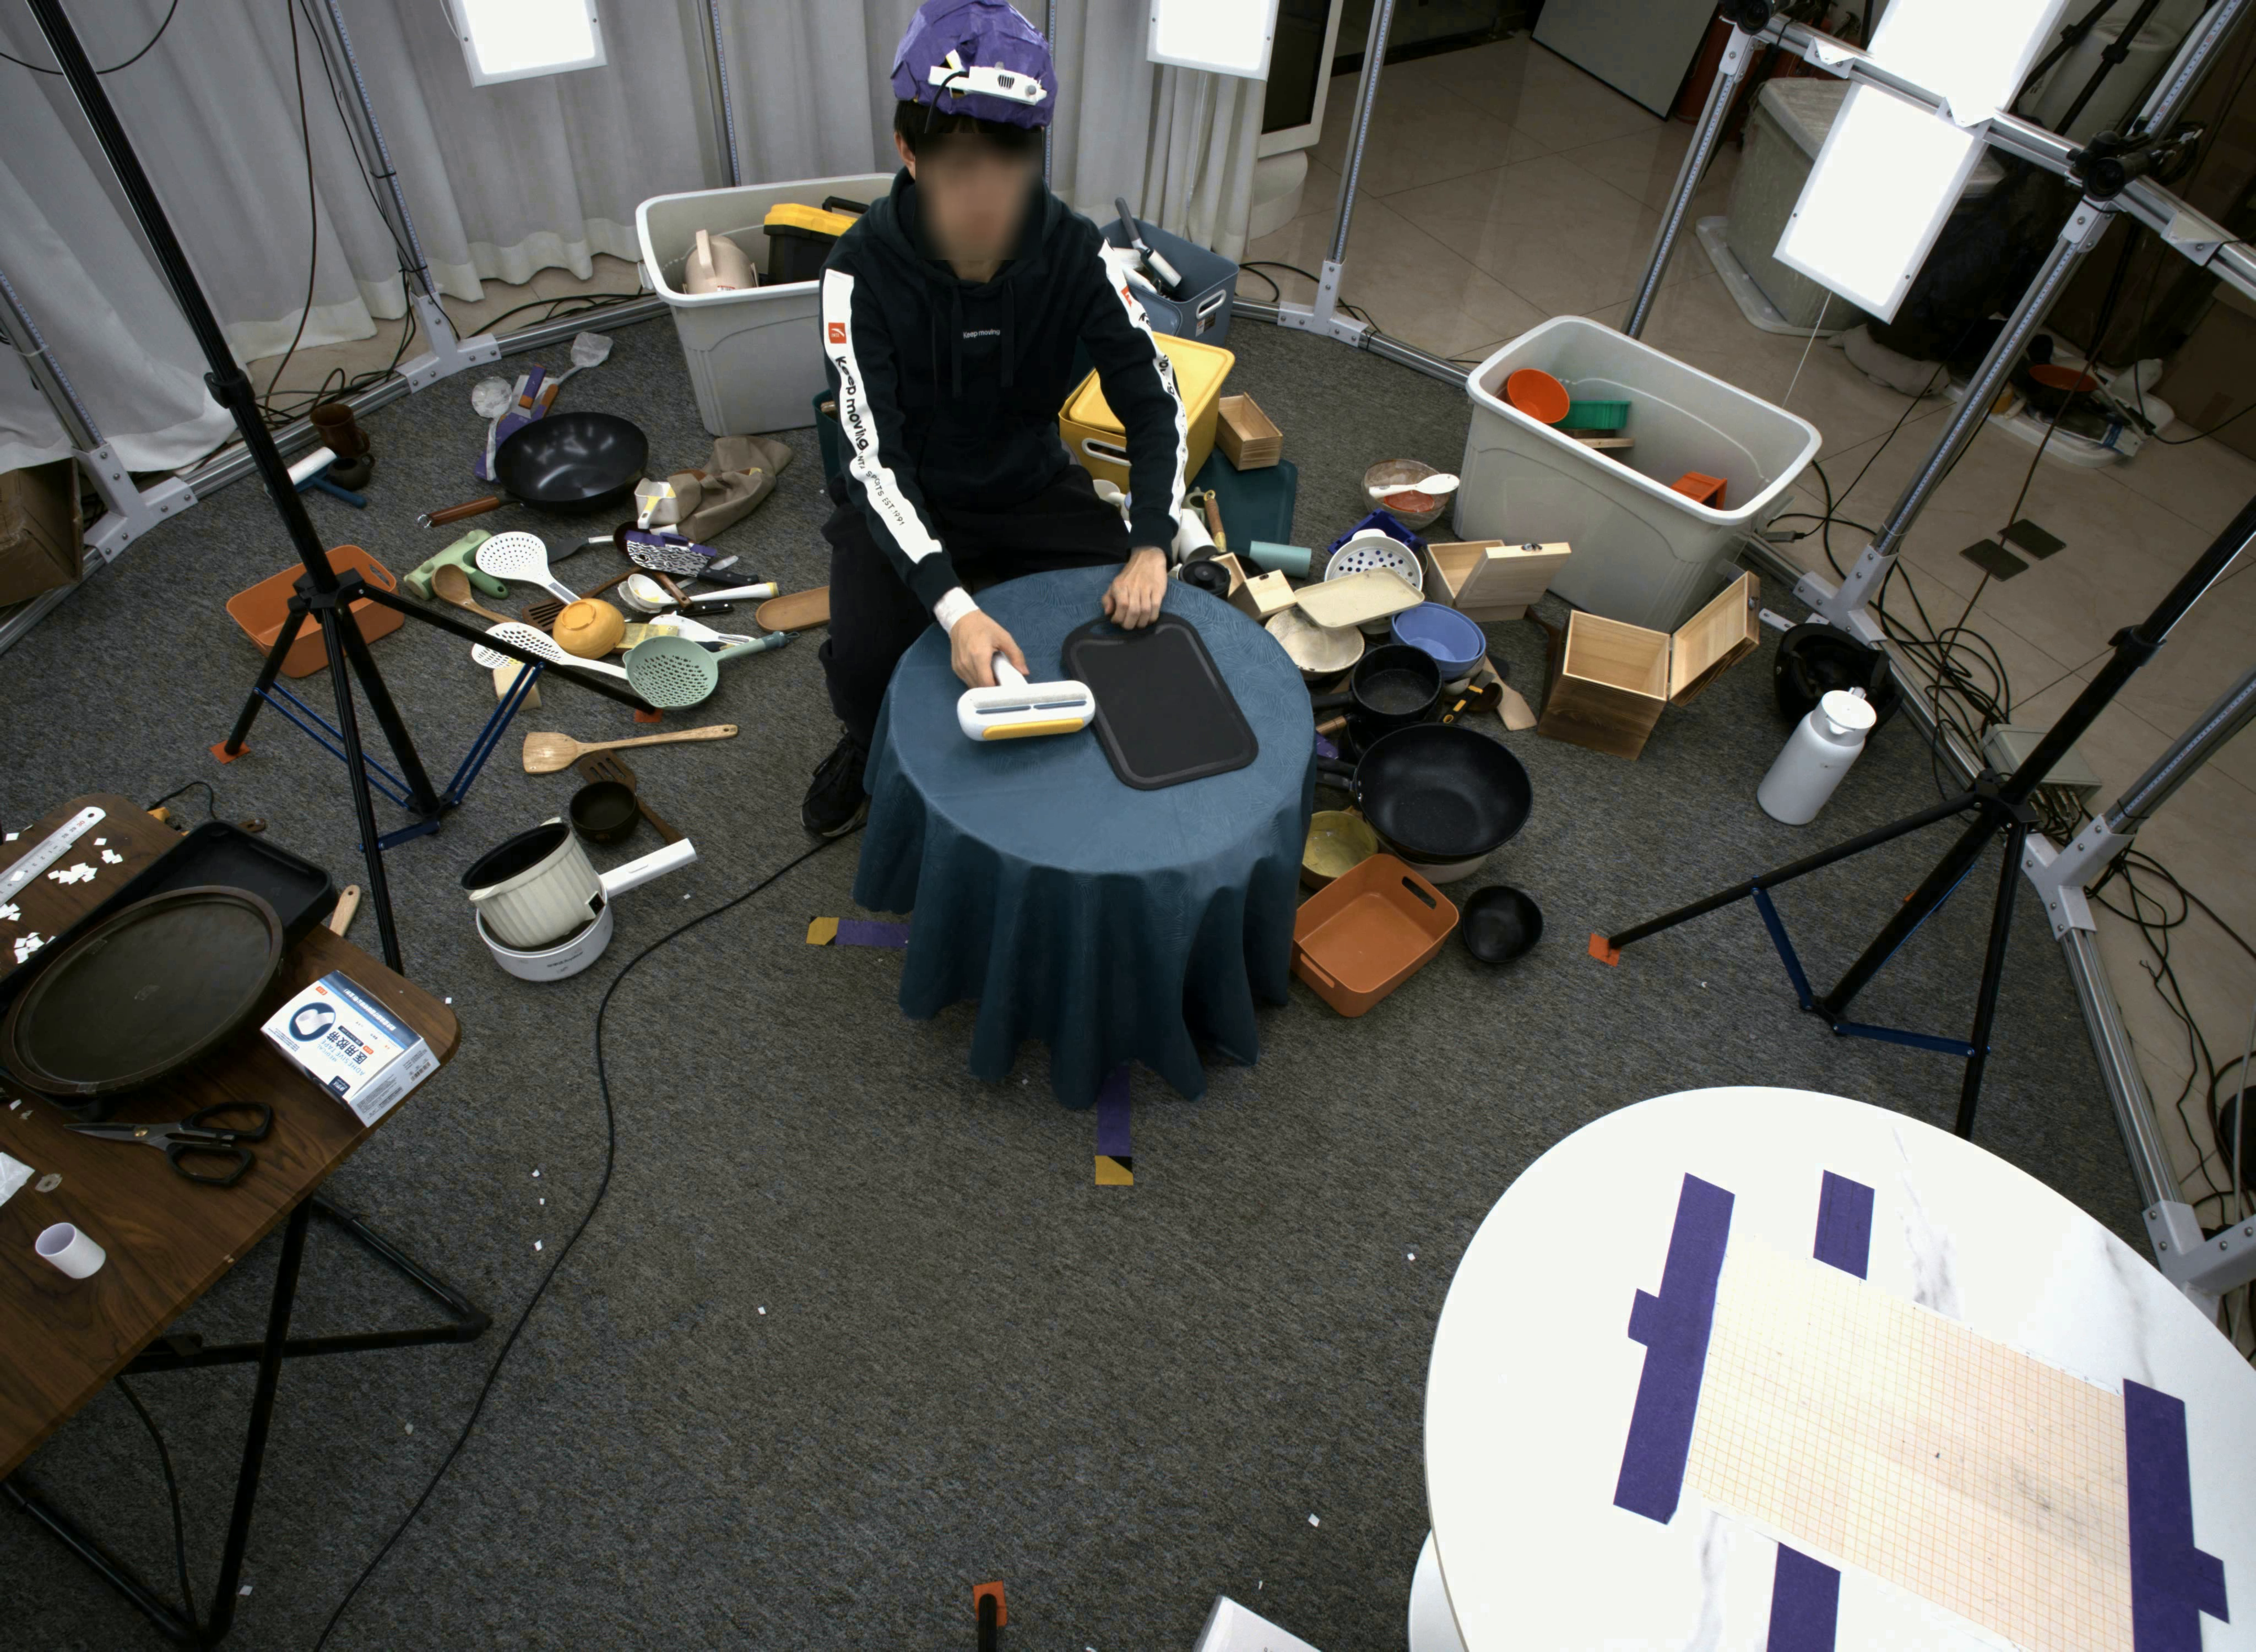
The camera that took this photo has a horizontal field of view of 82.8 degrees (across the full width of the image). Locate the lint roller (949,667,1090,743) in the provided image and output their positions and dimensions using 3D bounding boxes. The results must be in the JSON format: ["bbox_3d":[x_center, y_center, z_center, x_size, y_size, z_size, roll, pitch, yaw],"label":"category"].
[{"bbox_3d":[-0.164,-0.182,1.792,0.192,0.072,0.197,-4,38,-18],"label":"lint roller"}]

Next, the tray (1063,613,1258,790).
[{"bbox_3d":[0.038,-0.188,1.818,0.211,0.009,0.333,-14,54,-15],"label":"tray"}]
